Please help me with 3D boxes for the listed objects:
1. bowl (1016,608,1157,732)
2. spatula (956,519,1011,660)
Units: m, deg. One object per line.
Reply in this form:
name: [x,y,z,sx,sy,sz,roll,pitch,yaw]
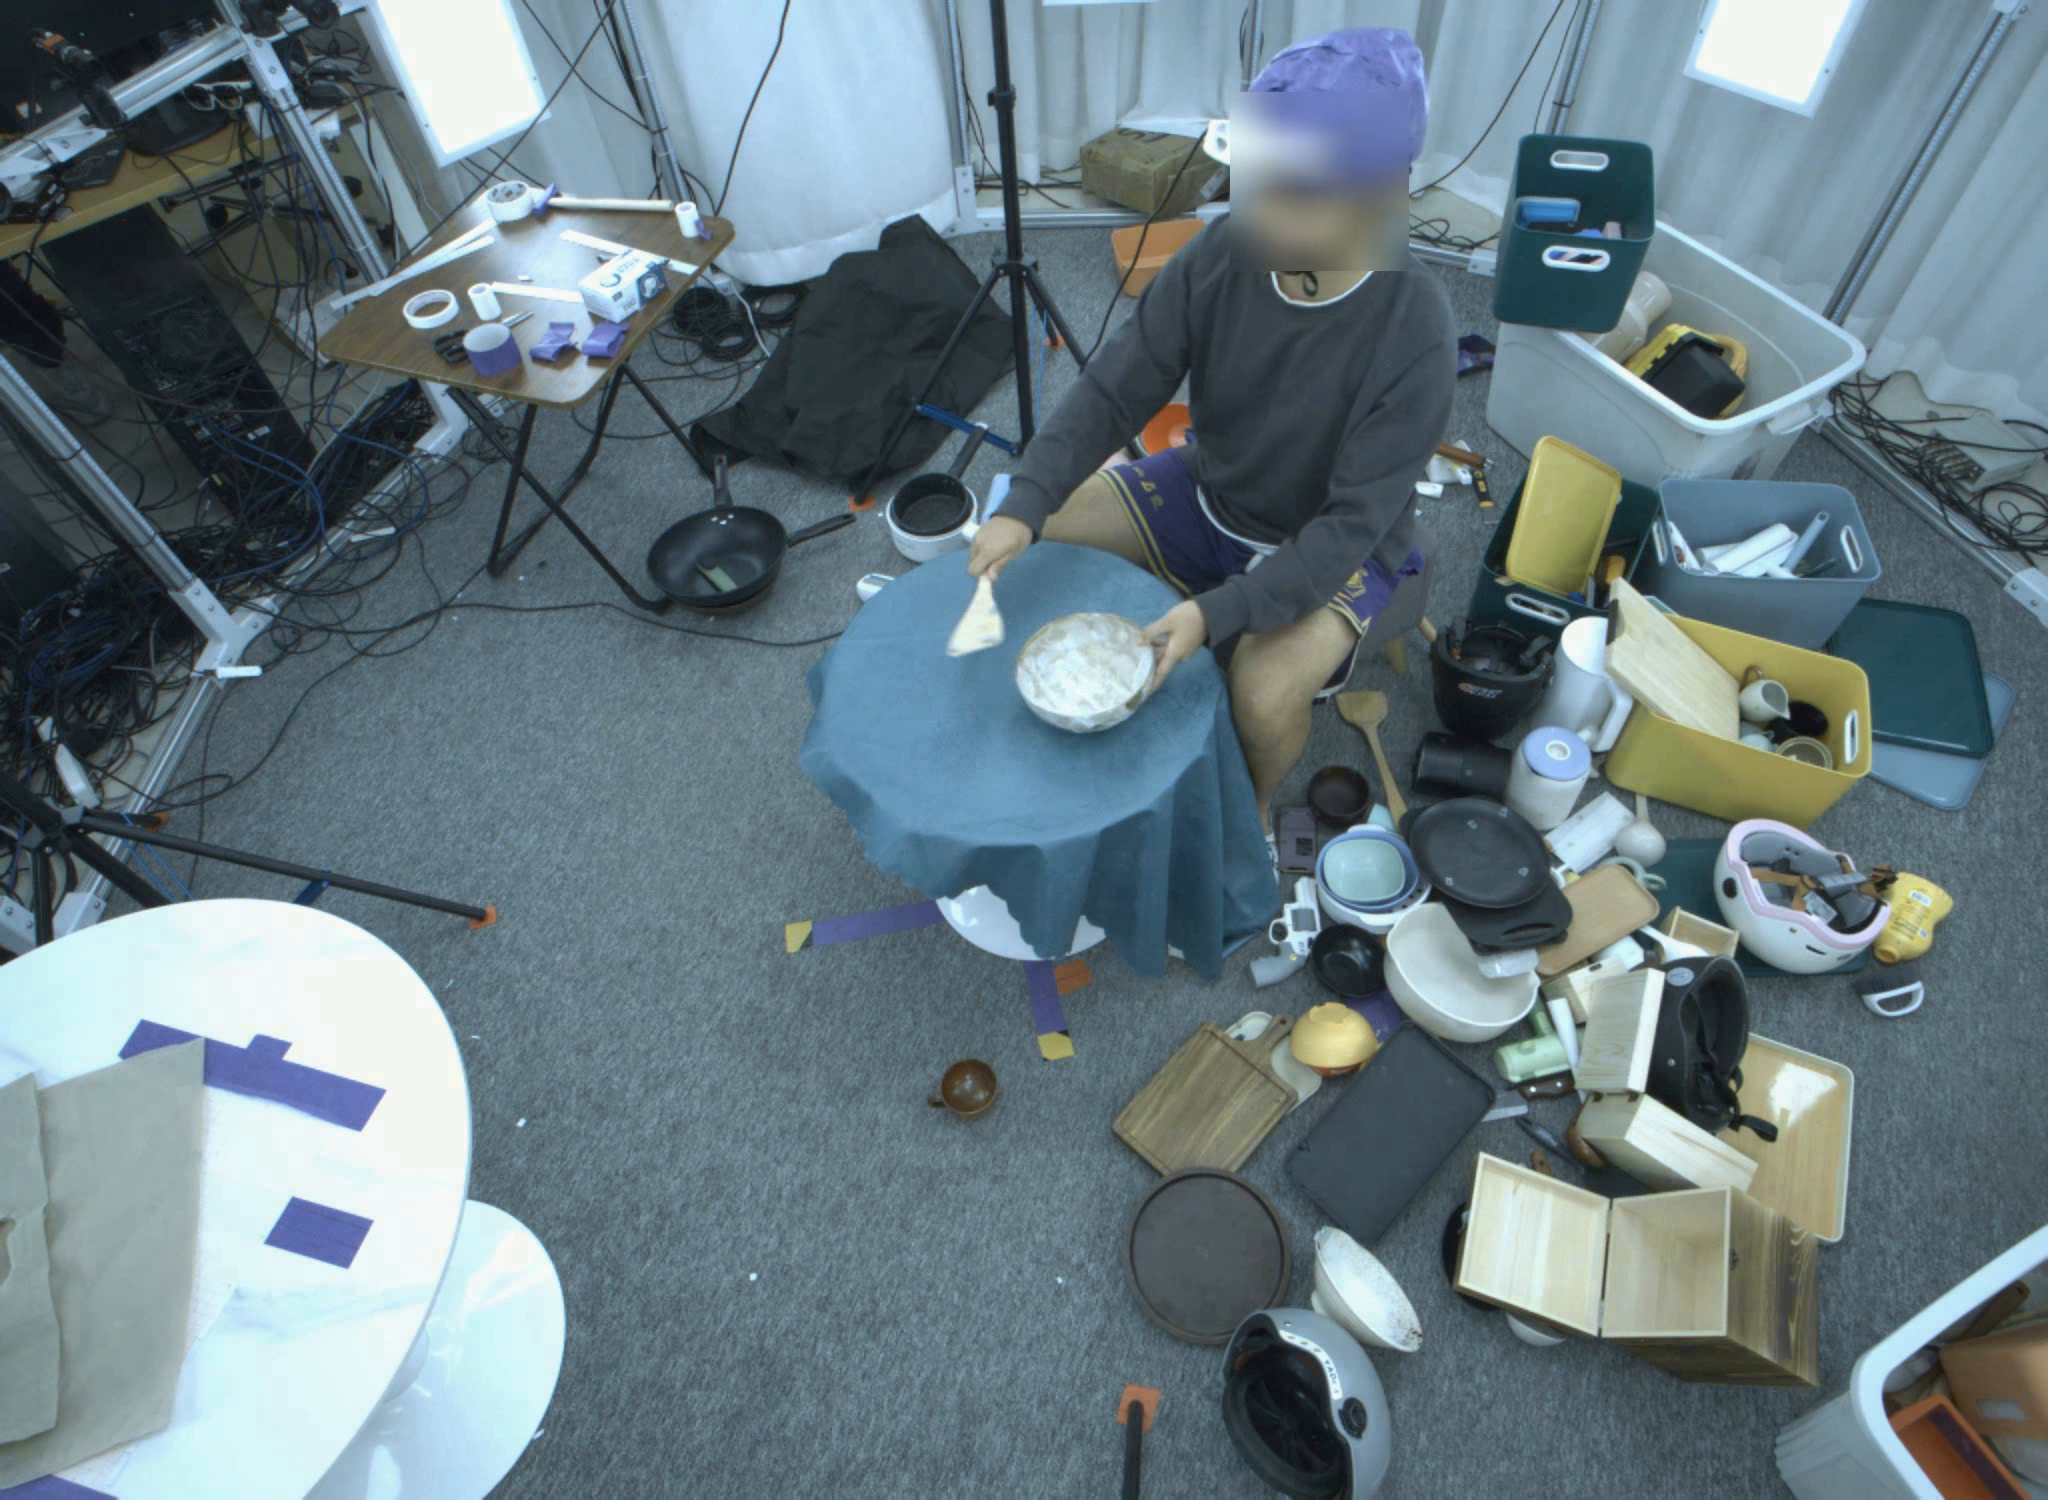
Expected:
bowl: [0.097,-0.102,1.796,0.214,0.096,0.212,-5,52,8]
spatula: [-0.055,-0.248,1.830,0.079,0.017,0.324,-9,47,11]
